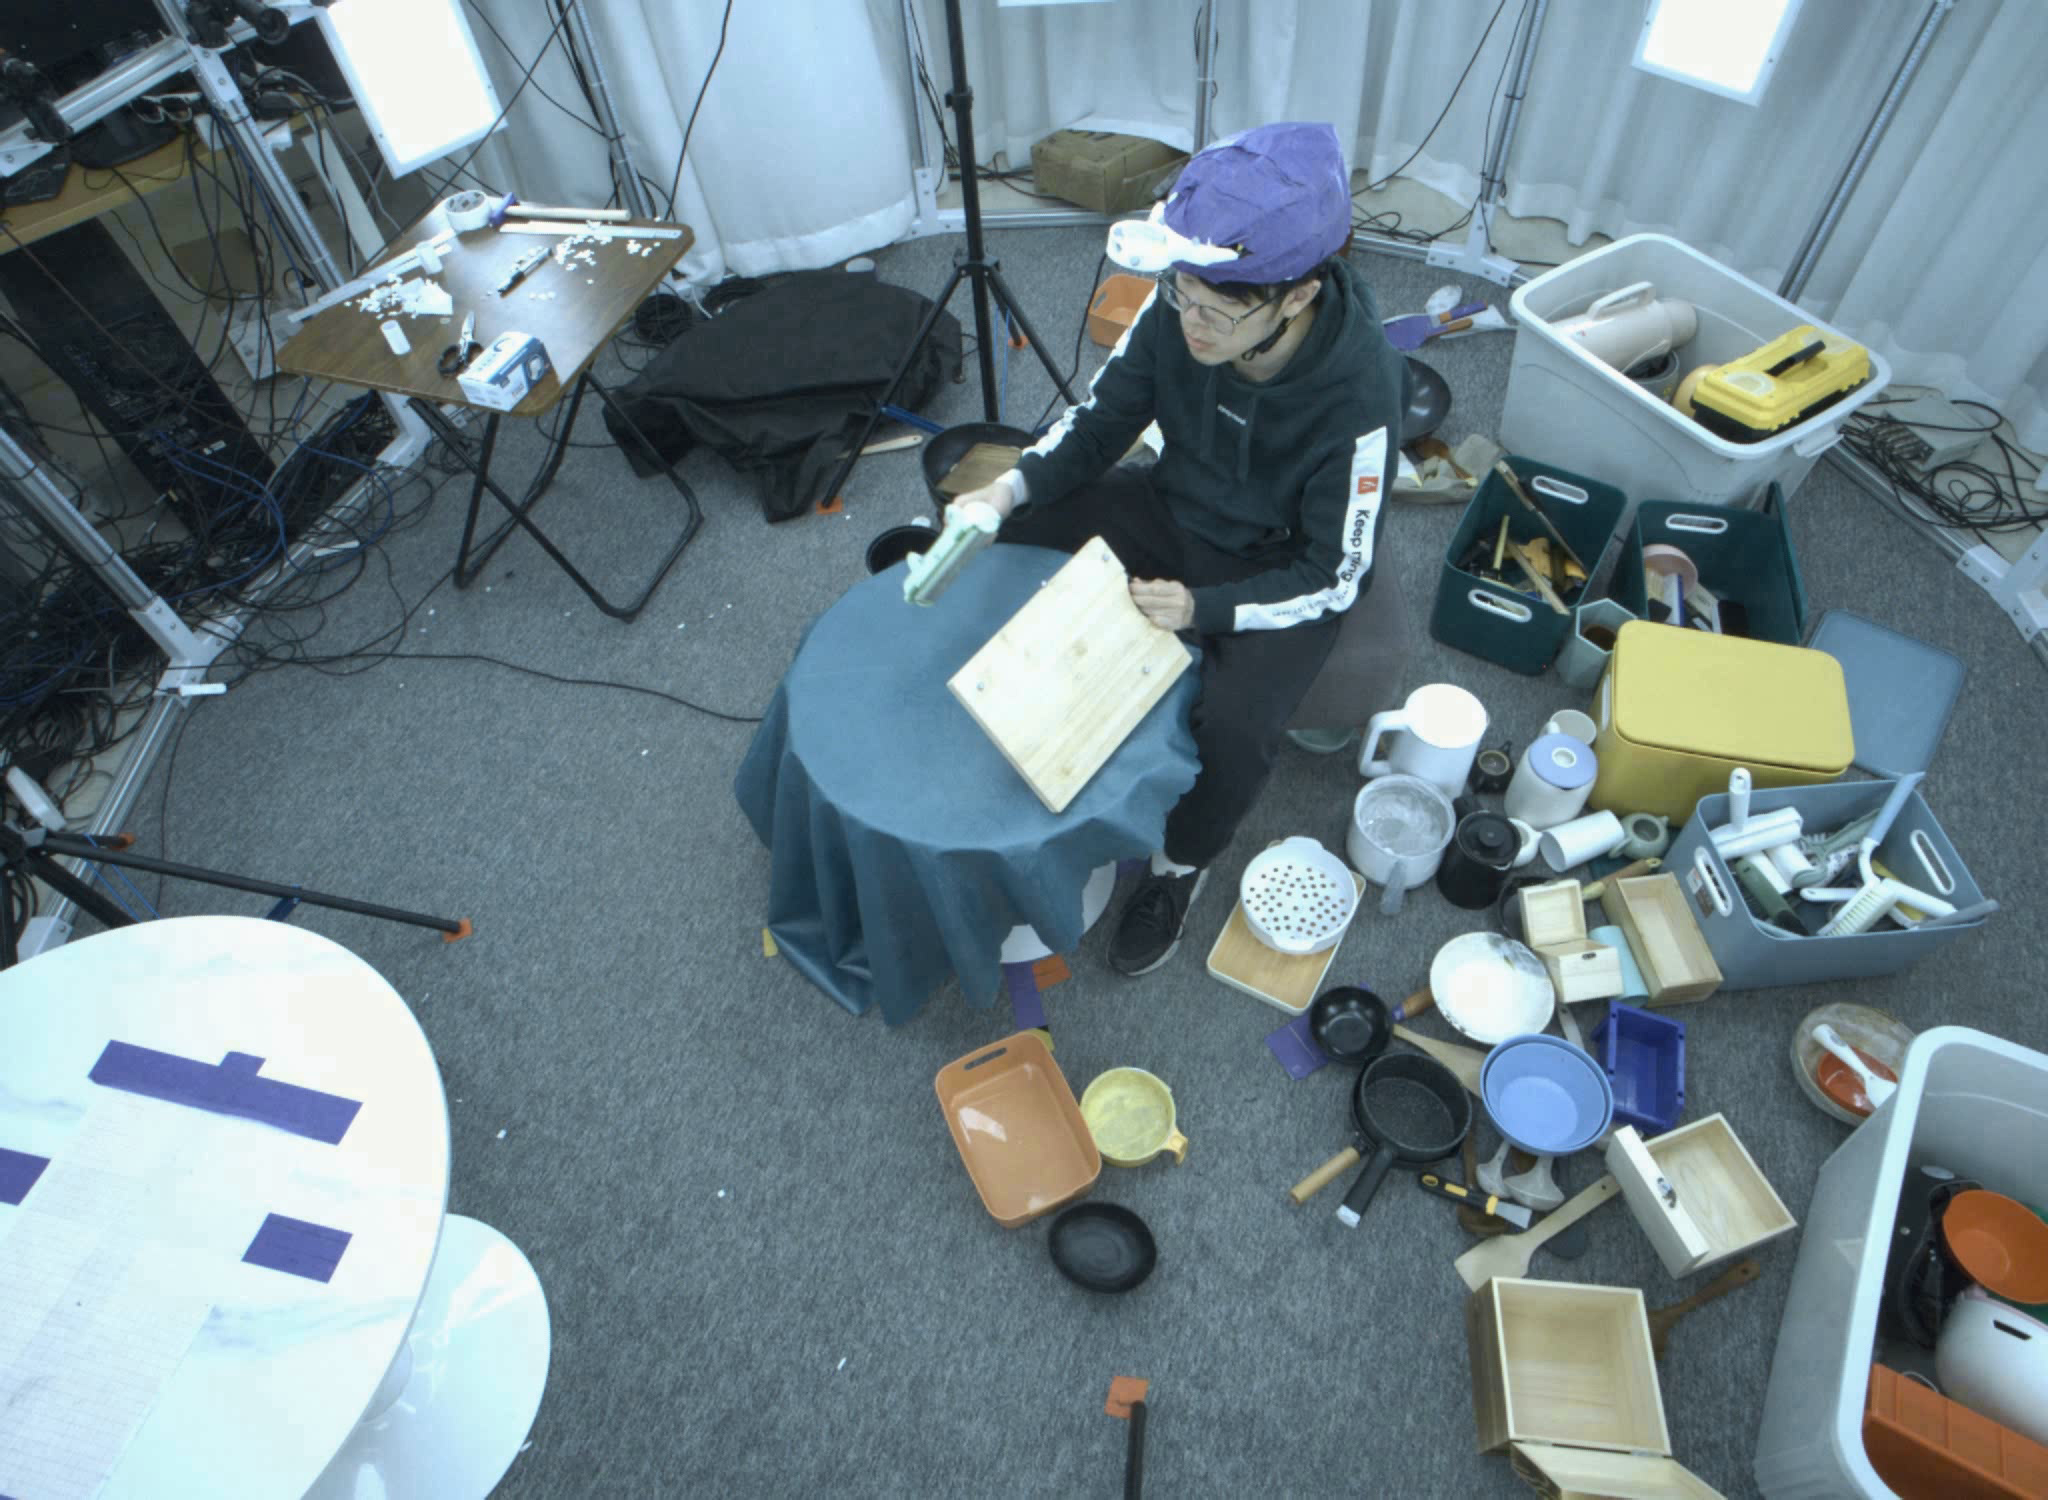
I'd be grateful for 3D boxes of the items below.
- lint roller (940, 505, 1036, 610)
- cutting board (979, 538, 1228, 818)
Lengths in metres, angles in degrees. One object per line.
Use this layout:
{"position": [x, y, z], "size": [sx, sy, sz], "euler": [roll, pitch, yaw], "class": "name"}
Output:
{"position": [-0.044, -0.314, 1.789], "size": [0.083, 0.197, 0.183], "euler": [36, 46, -12], "class": "lint roller"}
{"position": [0.120, -0.107, 1.746], "size": [0.350, 0.023, 0.254], "euler": [-47, 110, -25], "class": "cutting board"}
